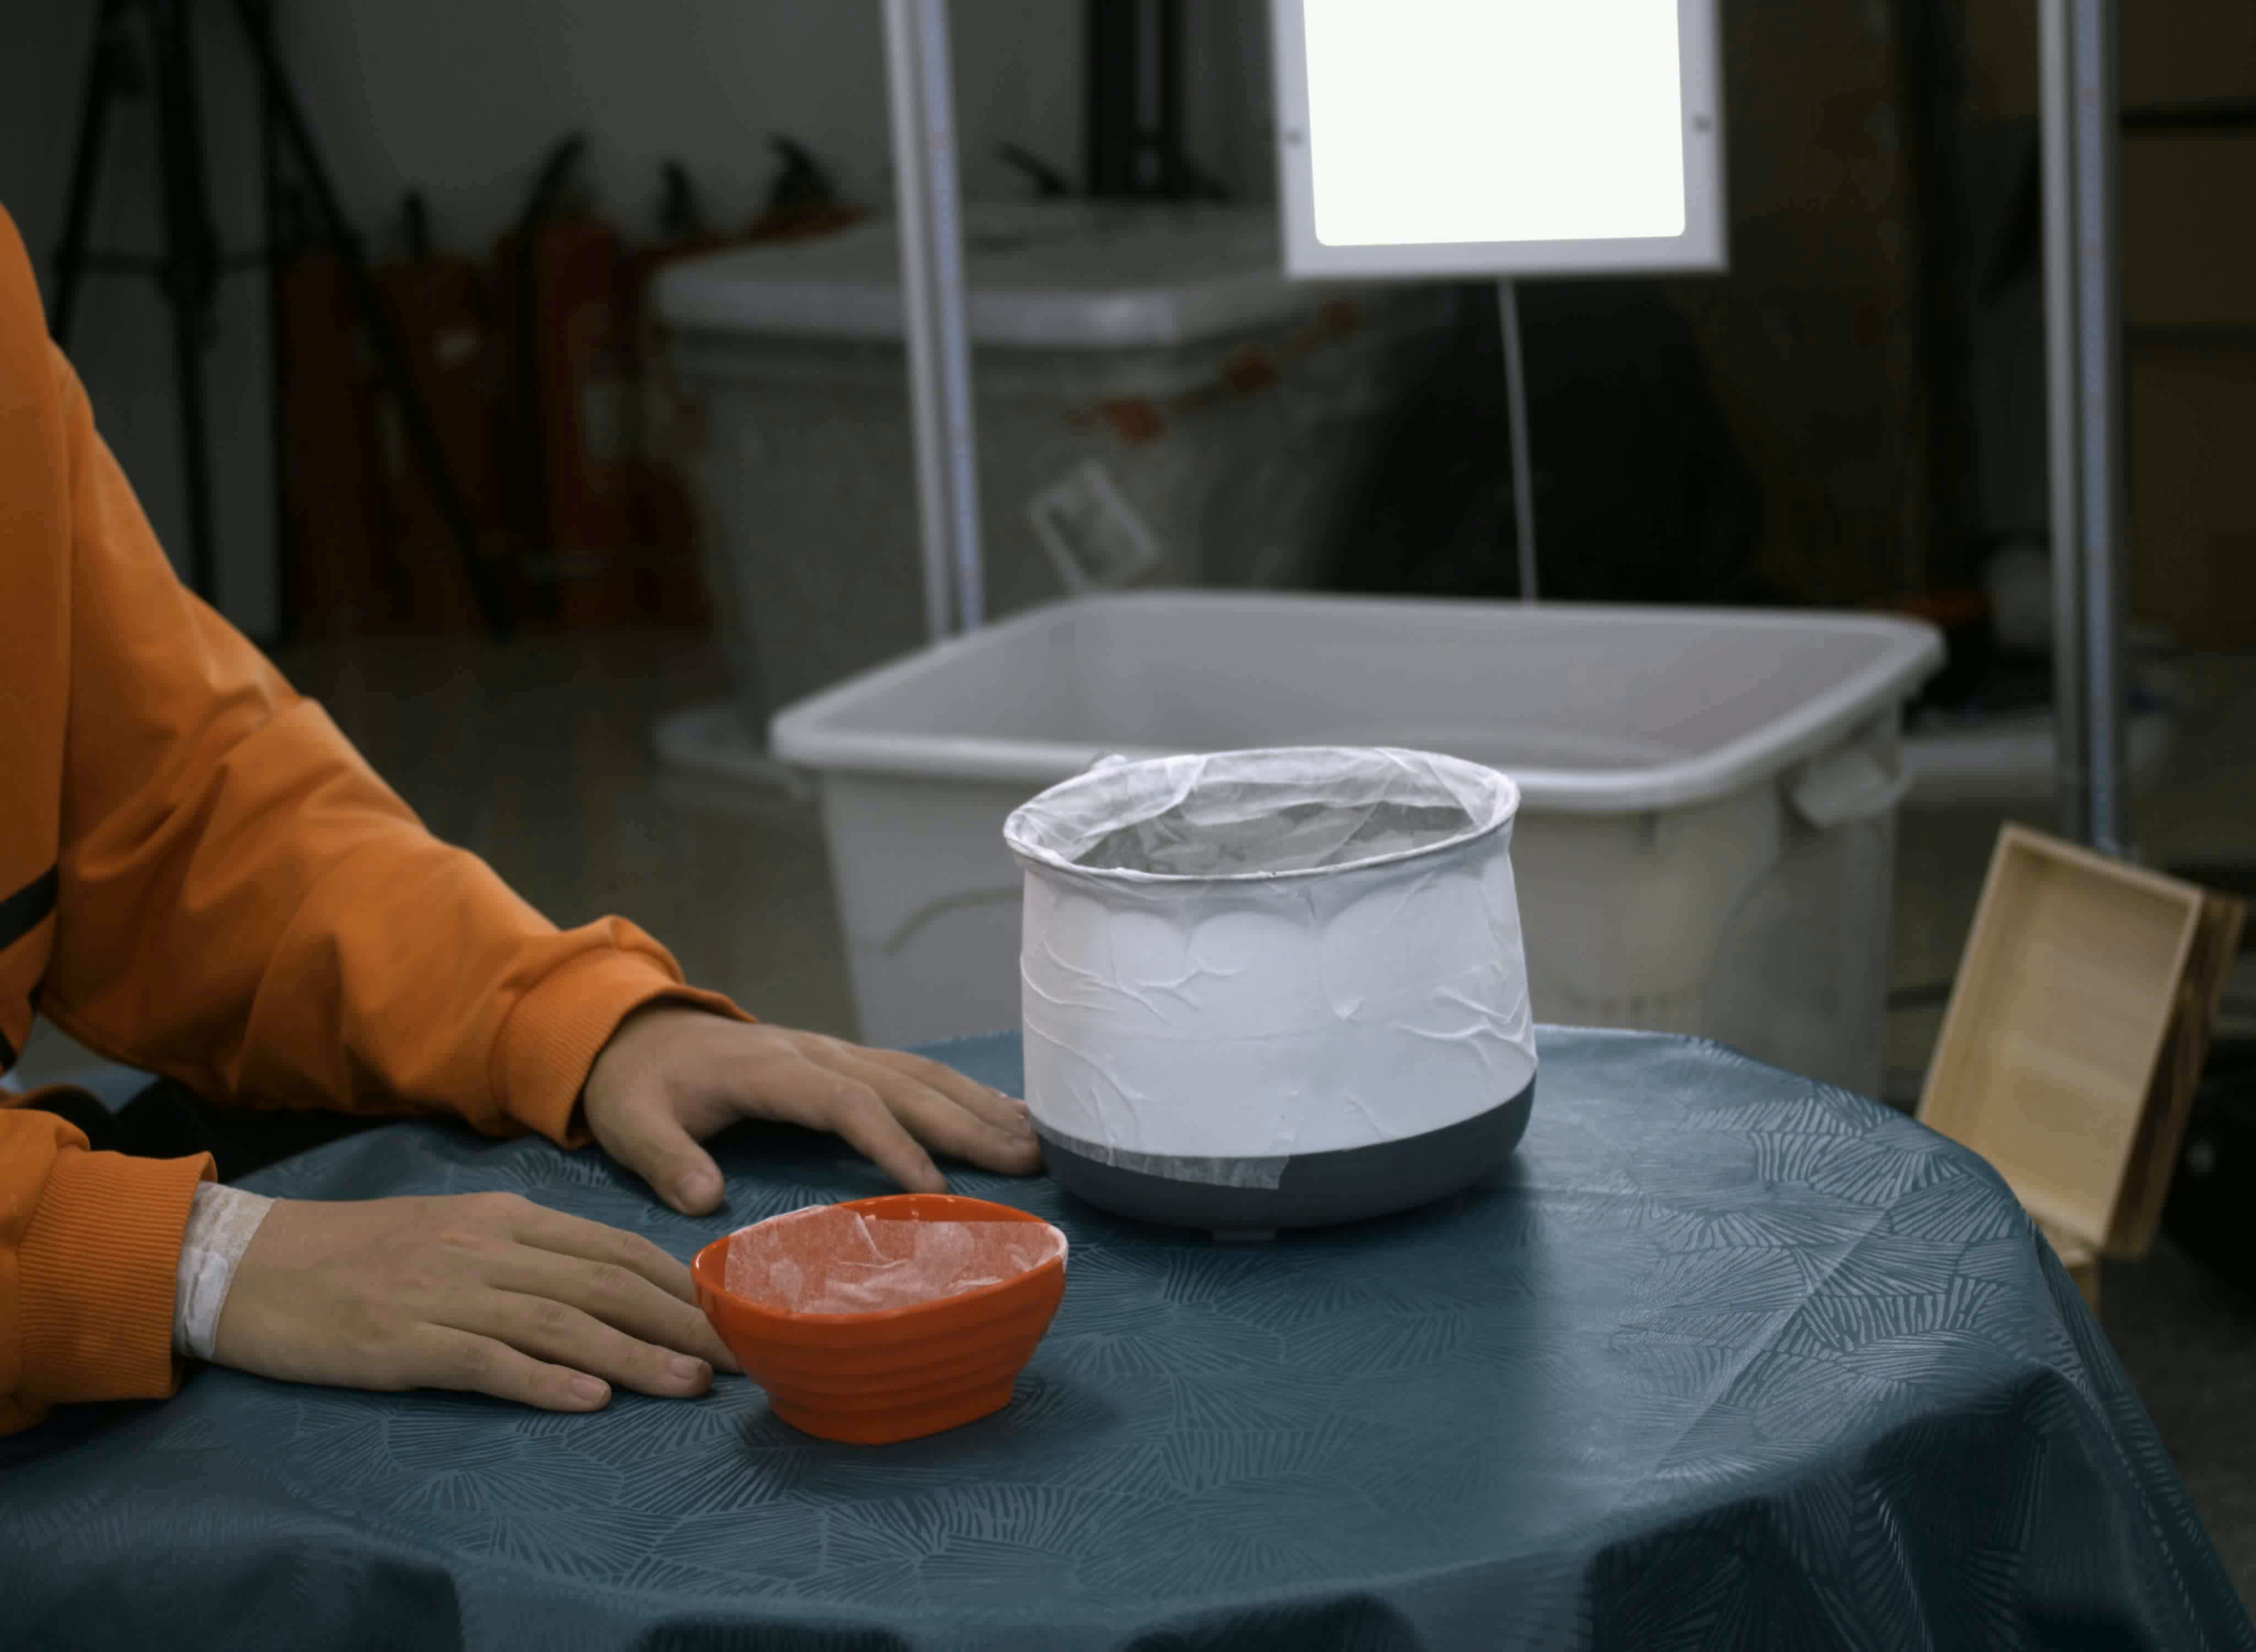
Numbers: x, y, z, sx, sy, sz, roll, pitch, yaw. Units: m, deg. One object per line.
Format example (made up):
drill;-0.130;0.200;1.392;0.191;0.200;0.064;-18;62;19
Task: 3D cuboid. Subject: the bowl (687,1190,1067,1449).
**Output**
bowl;-0.076;0.155;1.704;0.118;0.051;0.119;-5;15;0

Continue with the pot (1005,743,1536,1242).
pot;0.035;0.051;1.904;0.174;0.137;0.238;-13;16;-30
